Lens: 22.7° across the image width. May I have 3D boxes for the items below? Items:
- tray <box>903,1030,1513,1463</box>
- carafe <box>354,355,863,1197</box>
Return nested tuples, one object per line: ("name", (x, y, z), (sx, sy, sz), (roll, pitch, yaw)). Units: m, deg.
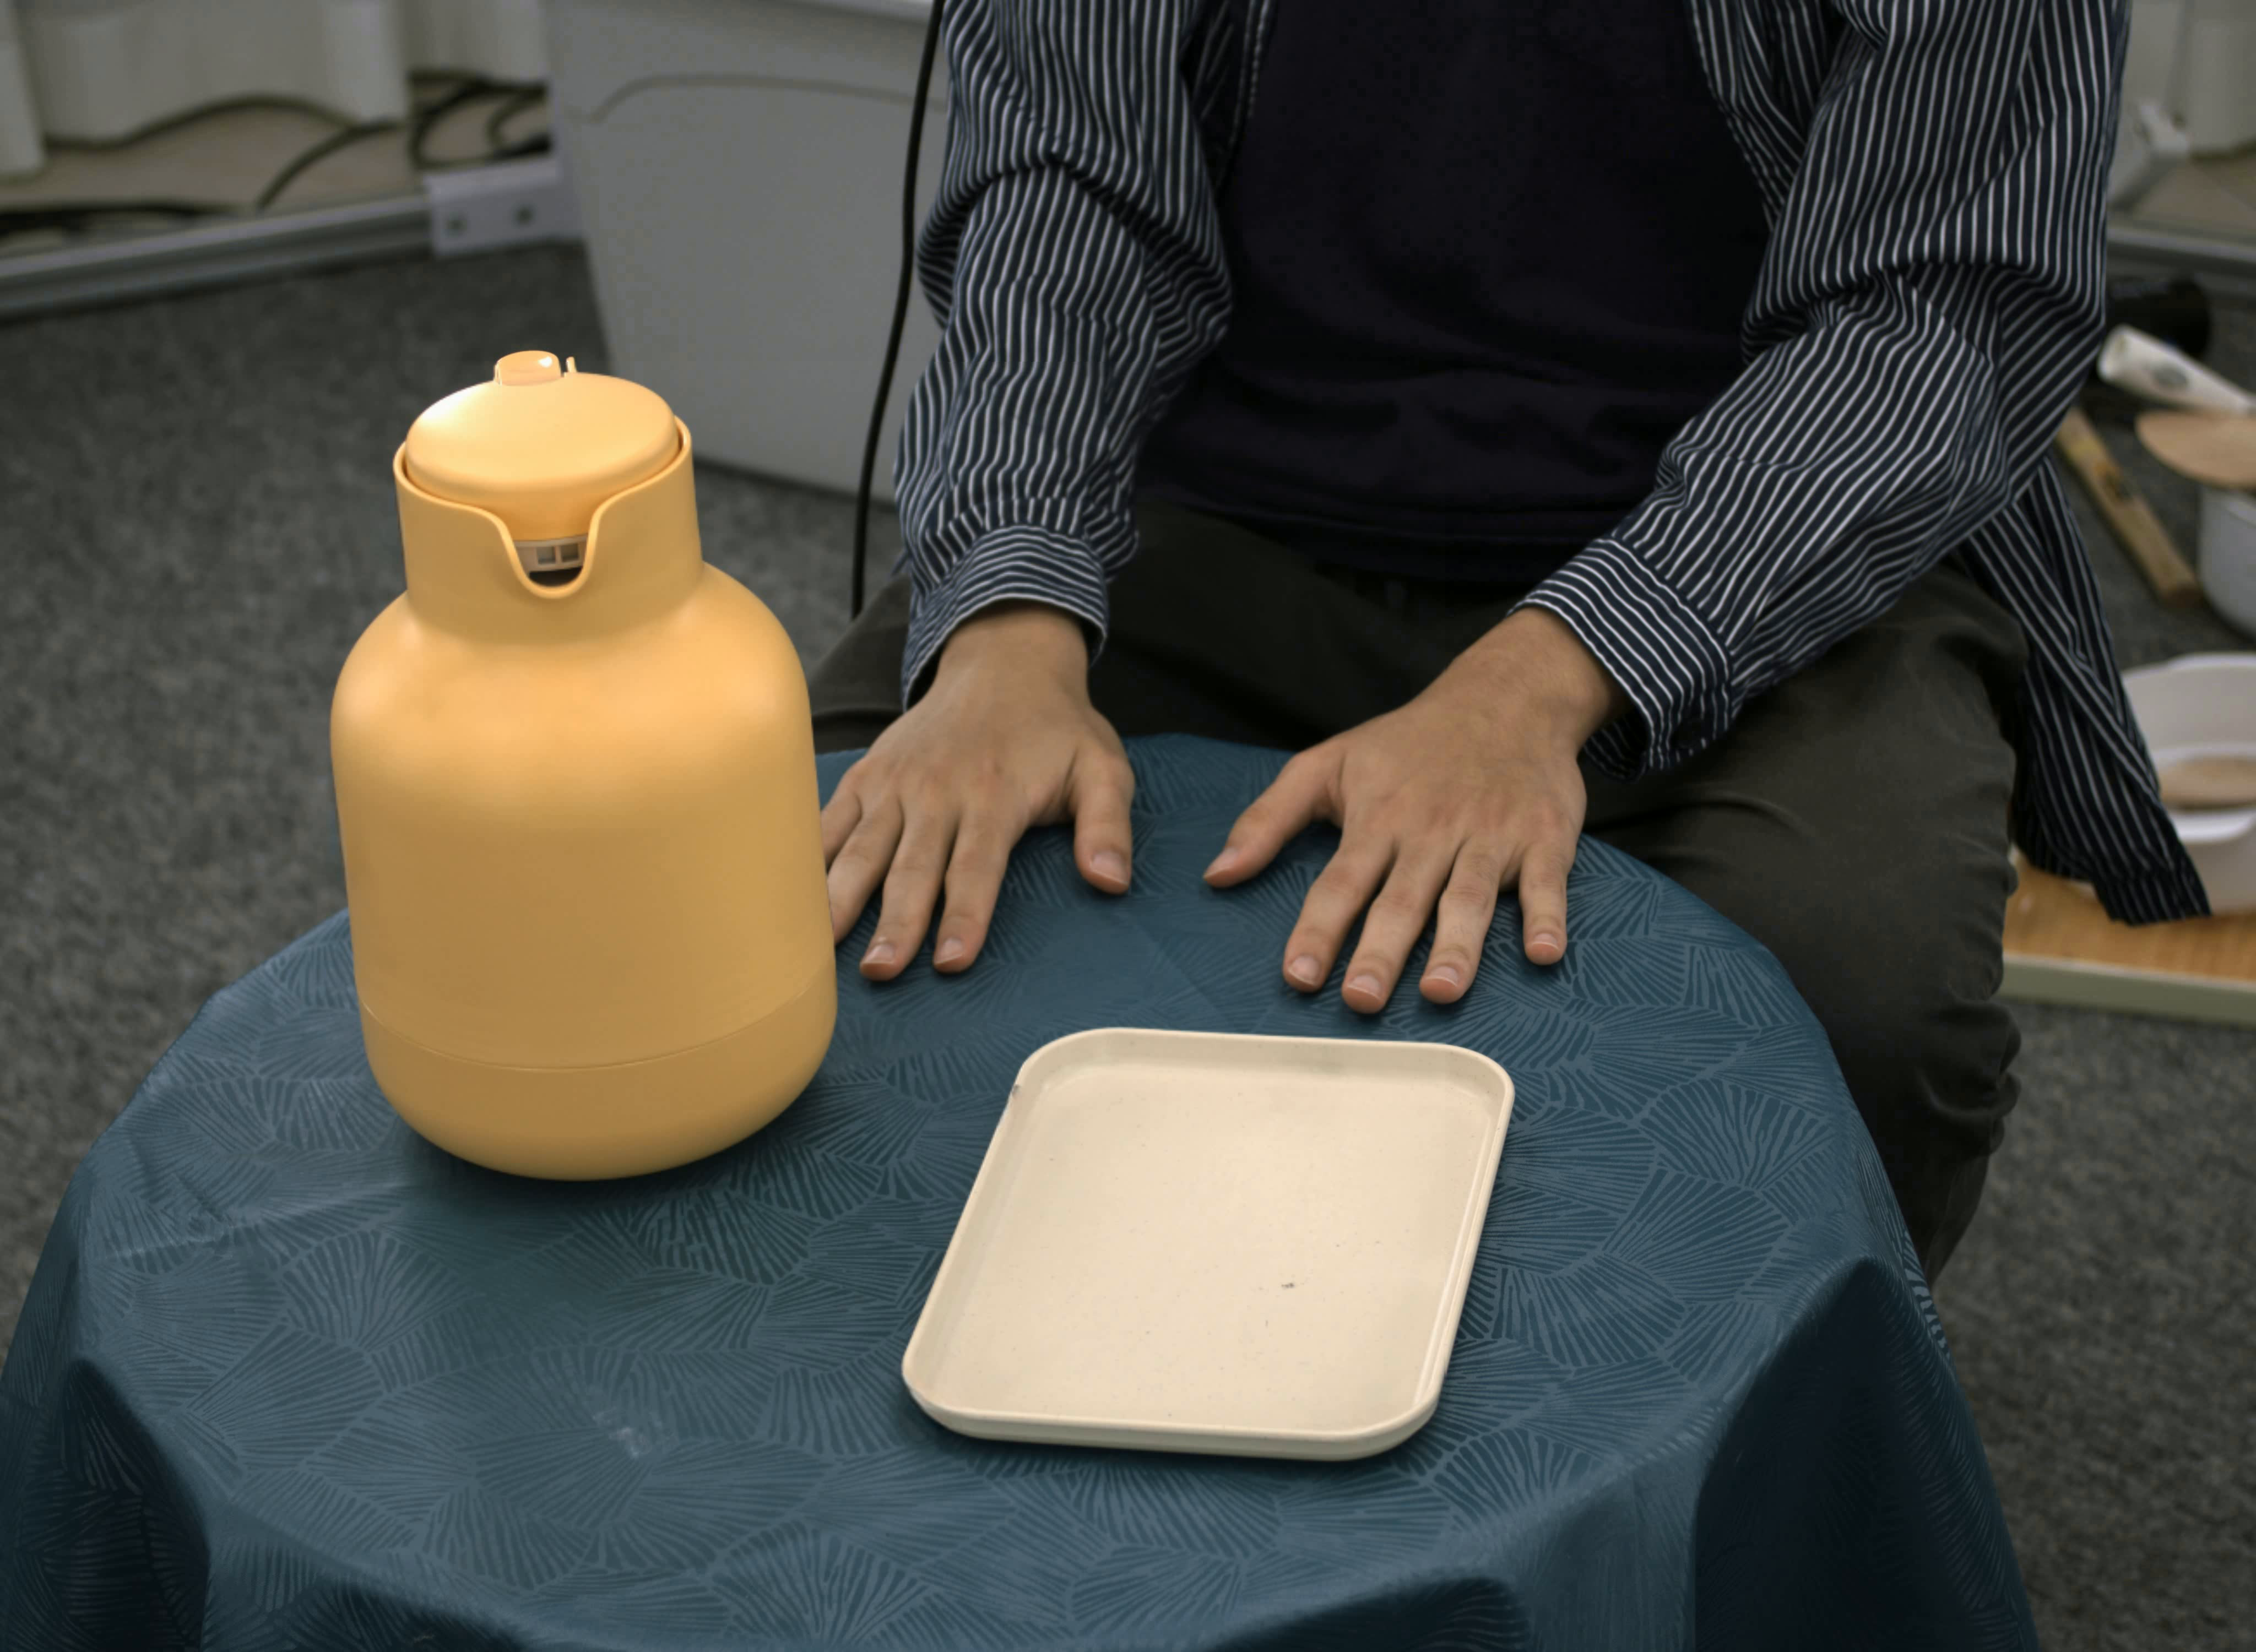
("tray", (0.029, 0.134, 1.810), (0.170, 0.017, 0.244), (3, 27, 10))
("carafe", (-0.177, -0.026, 1.881), (0.163, 0.258, 0.205), (-6, 27, -9))
